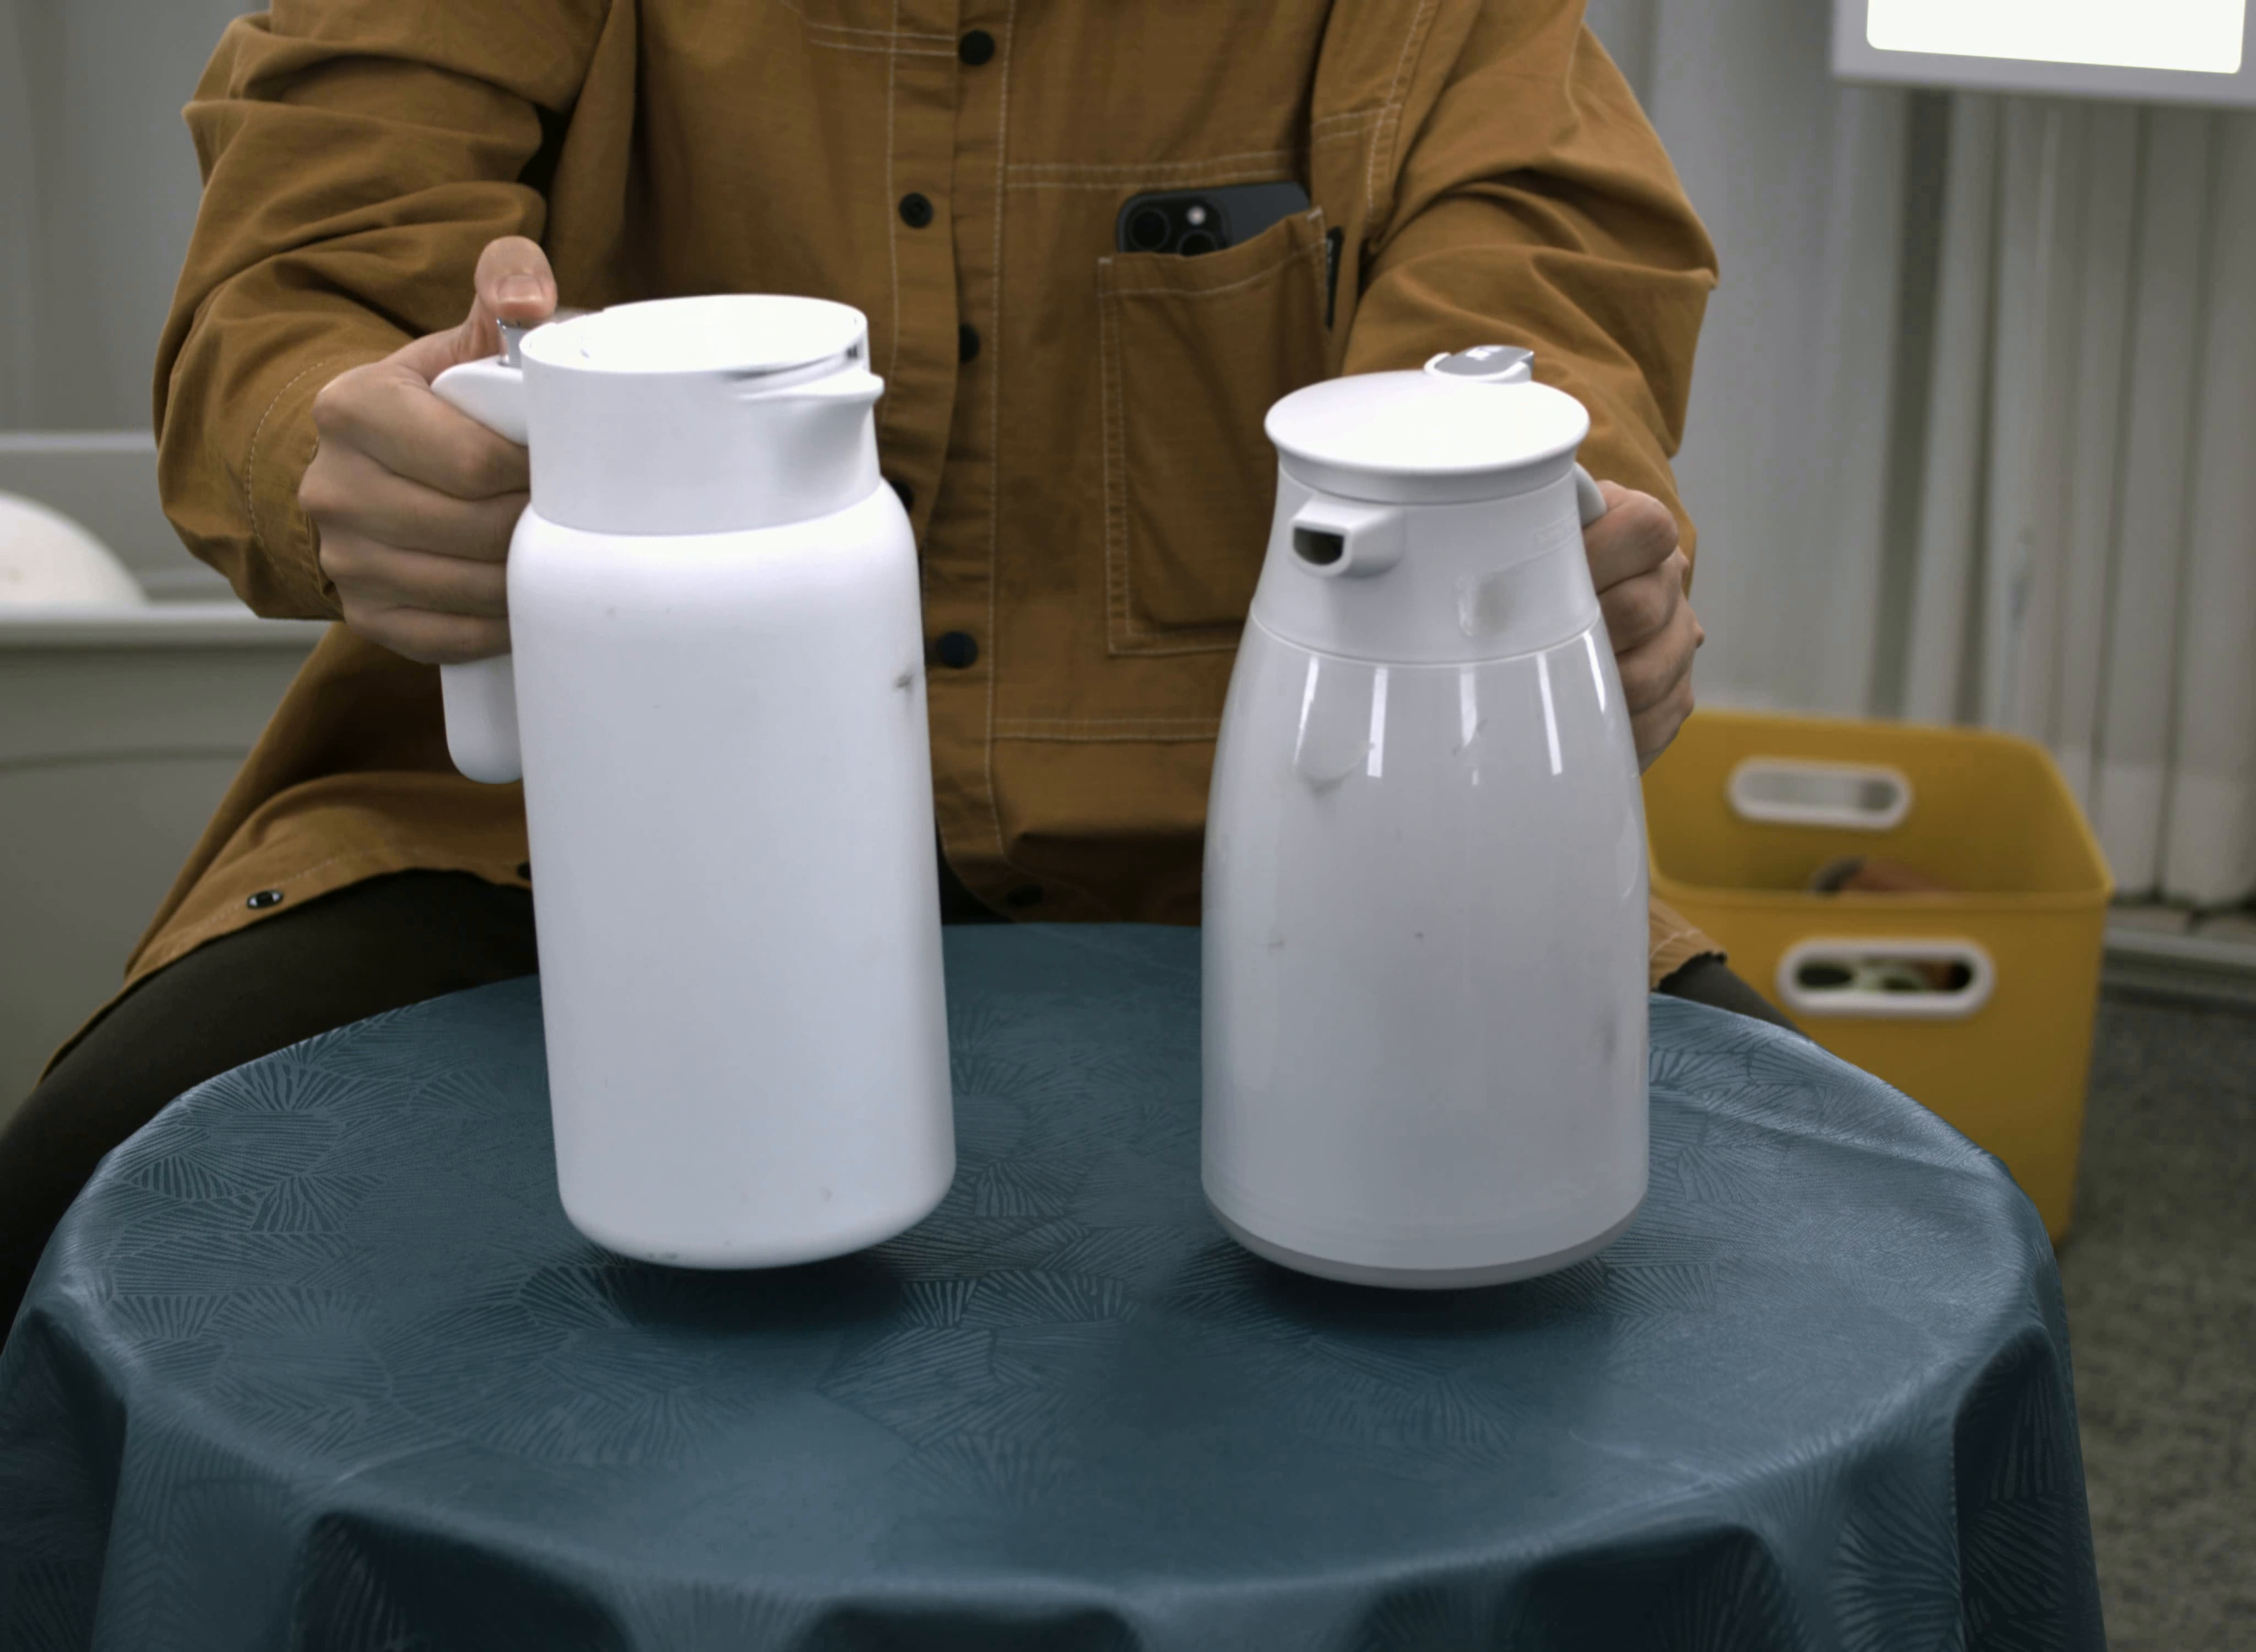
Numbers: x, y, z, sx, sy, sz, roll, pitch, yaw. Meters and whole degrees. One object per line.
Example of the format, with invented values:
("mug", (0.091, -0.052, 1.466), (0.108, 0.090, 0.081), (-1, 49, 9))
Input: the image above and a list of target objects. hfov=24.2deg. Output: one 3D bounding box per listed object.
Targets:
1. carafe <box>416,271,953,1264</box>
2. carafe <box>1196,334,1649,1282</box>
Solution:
("carafe", (-0.129, -0.019, 1.514), (0.170, 0.271, 0.124), (11, 24, 37))
("carafe", (0.094, -0.015, 1.525), (0.131, 0.251, 0.168), (12, 24, 28))
